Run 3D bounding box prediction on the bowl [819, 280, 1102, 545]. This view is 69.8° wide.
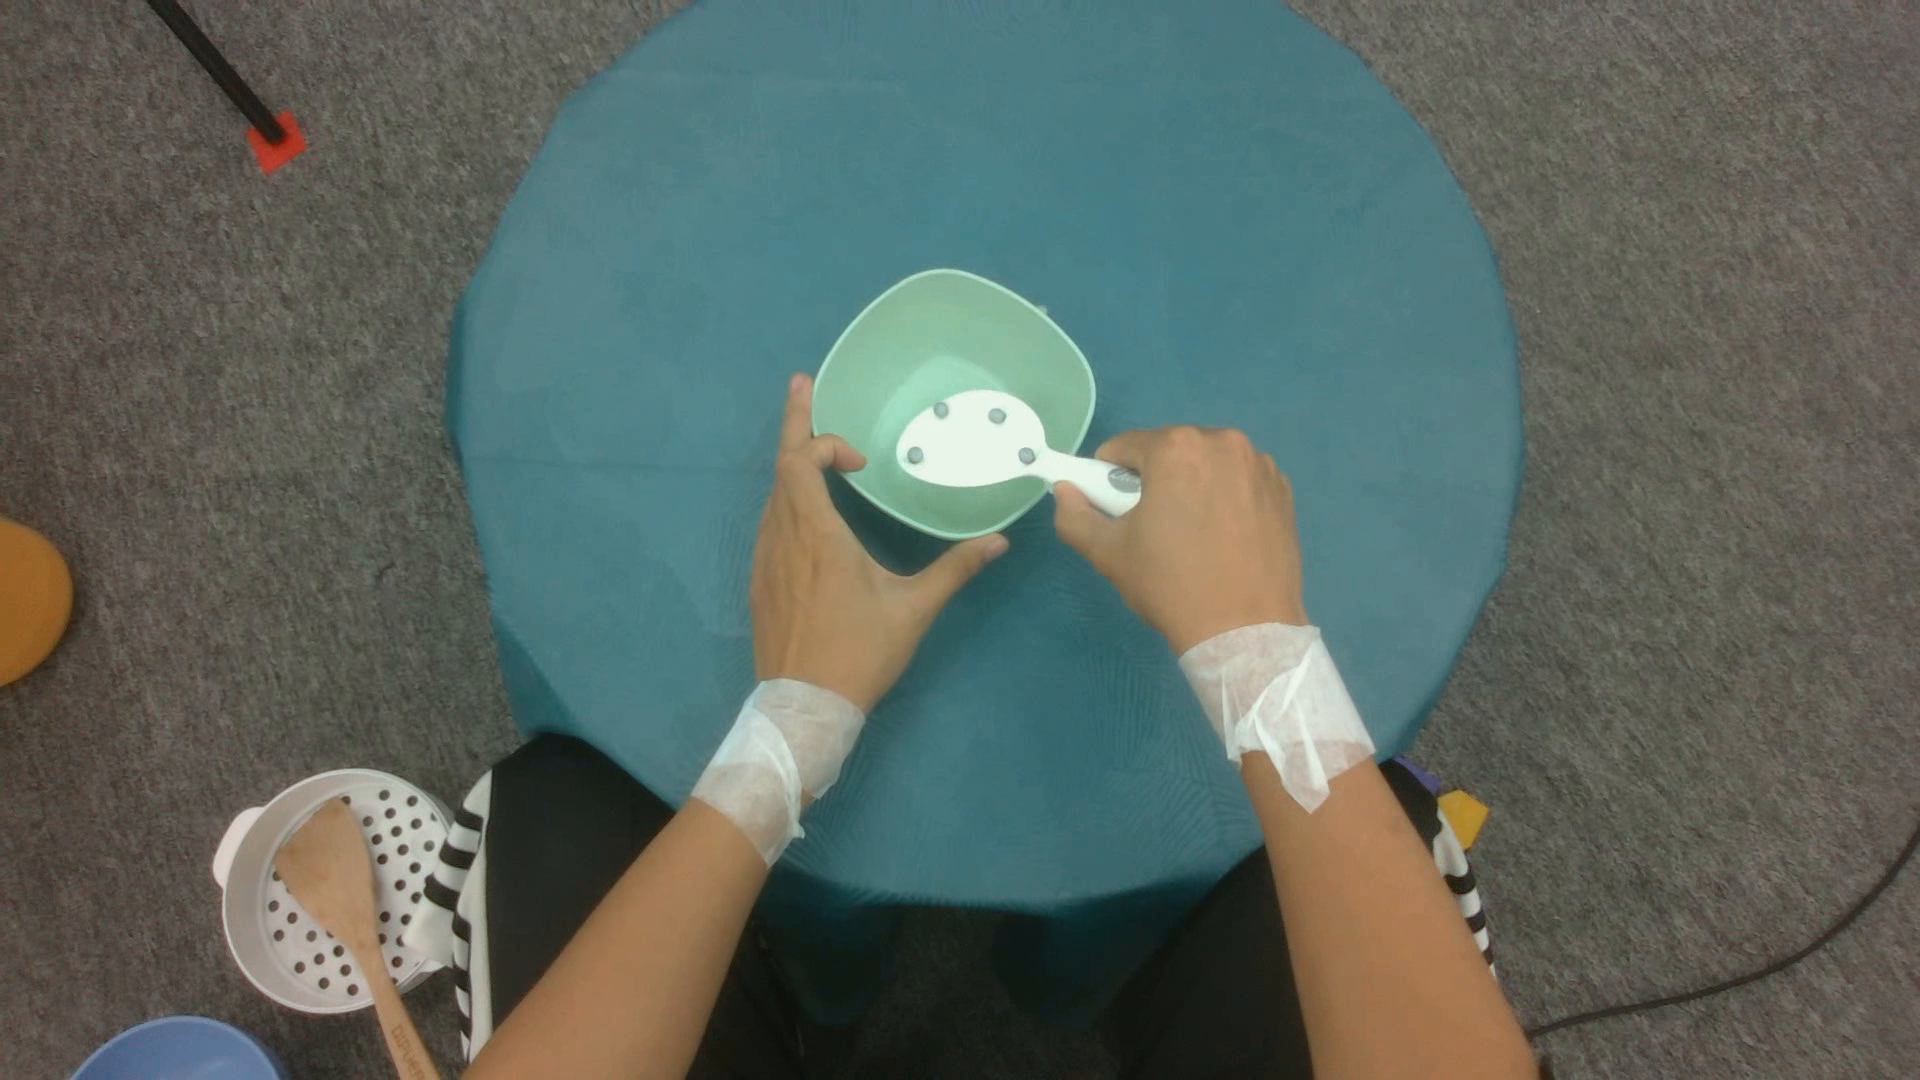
[{"bbox_3d":[0.000,-0.062,0.757,0.151,0.058,0.152,1,72,-2],"label":"bowl"}]

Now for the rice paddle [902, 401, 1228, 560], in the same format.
[{"bbox_3d":[0.044,-0.035,0.691,0.069,0.029,0.205,-44,42,-22],"label":"rice paddle"}]
